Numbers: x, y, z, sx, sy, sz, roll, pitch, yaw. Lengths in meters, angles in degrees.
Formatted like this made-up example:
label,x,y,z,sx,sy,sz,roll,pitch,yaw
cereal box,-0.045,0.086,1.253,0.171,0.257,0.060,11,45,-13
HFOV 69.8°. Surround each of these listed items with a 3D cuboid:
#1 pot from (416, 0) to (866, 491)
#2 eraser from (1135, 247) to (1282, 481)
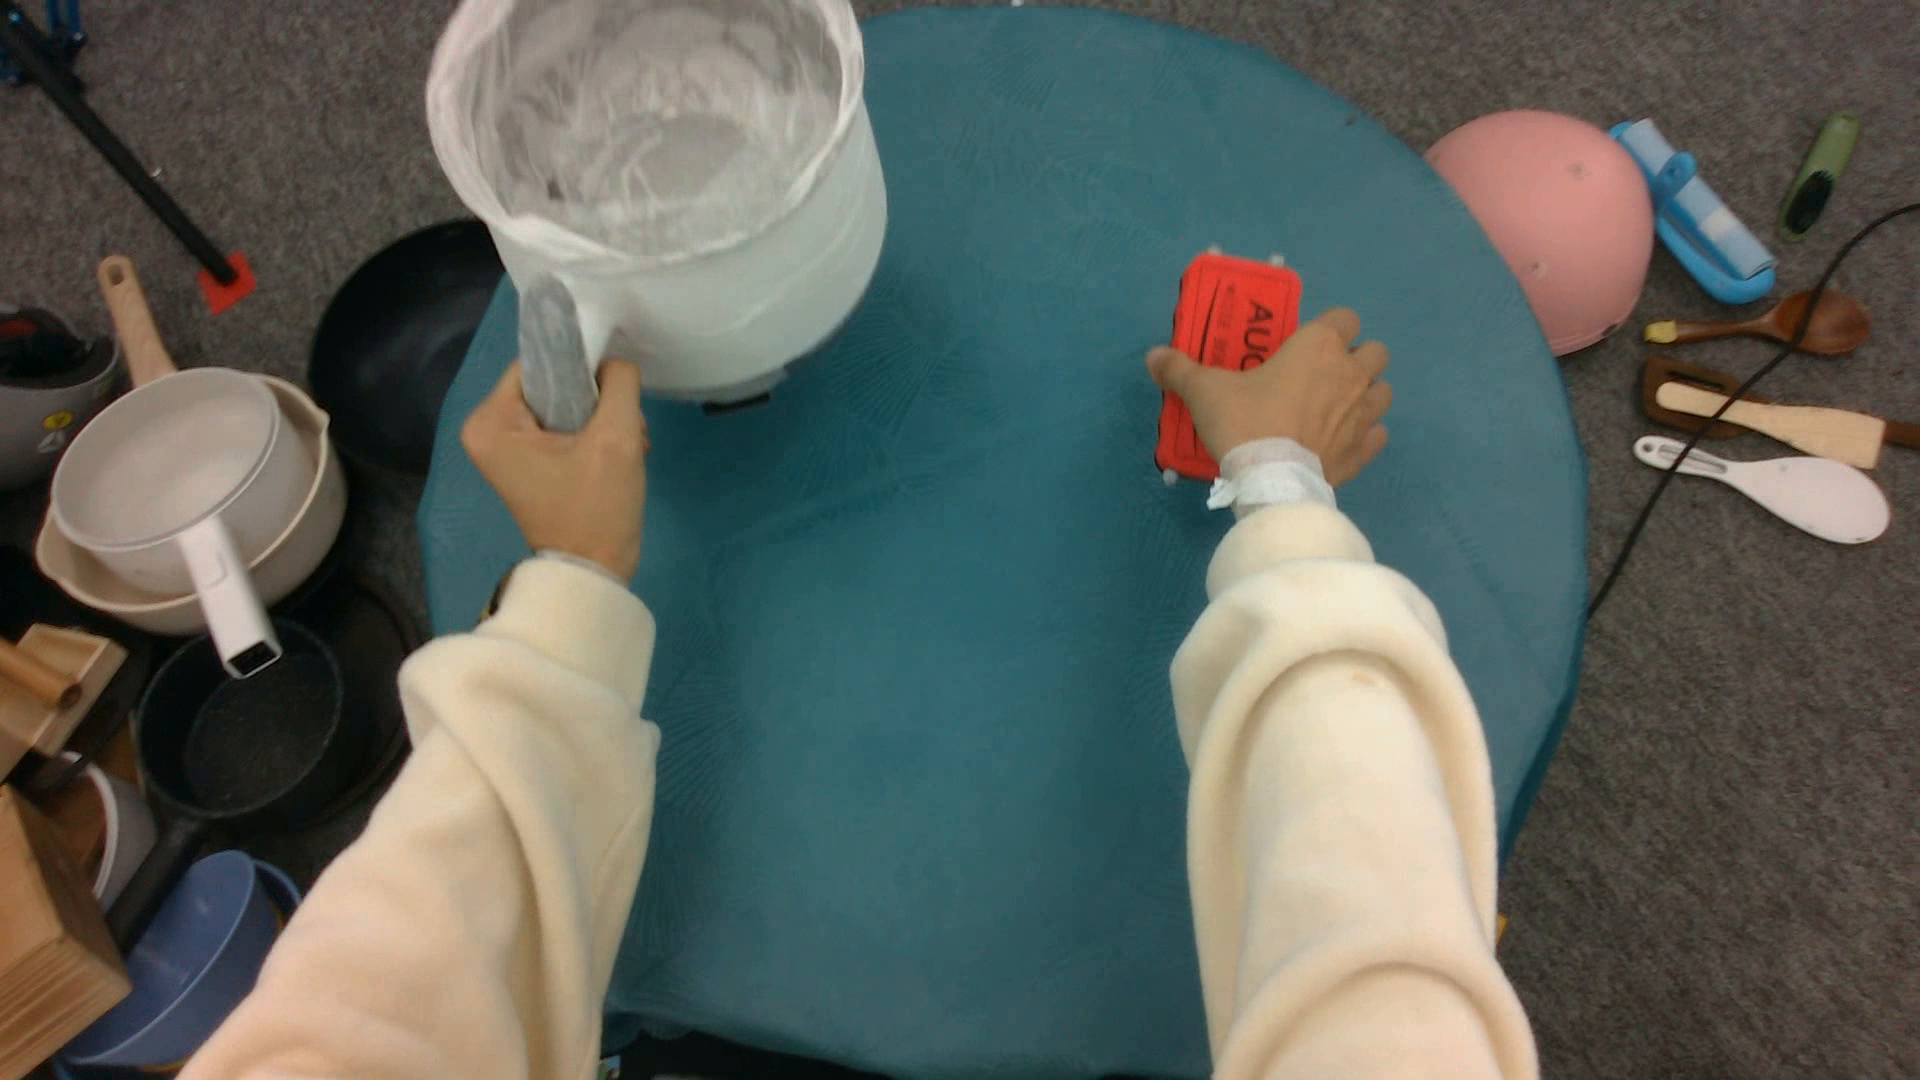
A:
label,x,y,z,sx,sy,sz,roll,pitch,yaw
pot,-0.141,-0.142,0.611,0.178,0.136,0.234,14,68,7
eraser,0.122,-0.086,0.676,0.059,0.023,0.108,10,83,-6
